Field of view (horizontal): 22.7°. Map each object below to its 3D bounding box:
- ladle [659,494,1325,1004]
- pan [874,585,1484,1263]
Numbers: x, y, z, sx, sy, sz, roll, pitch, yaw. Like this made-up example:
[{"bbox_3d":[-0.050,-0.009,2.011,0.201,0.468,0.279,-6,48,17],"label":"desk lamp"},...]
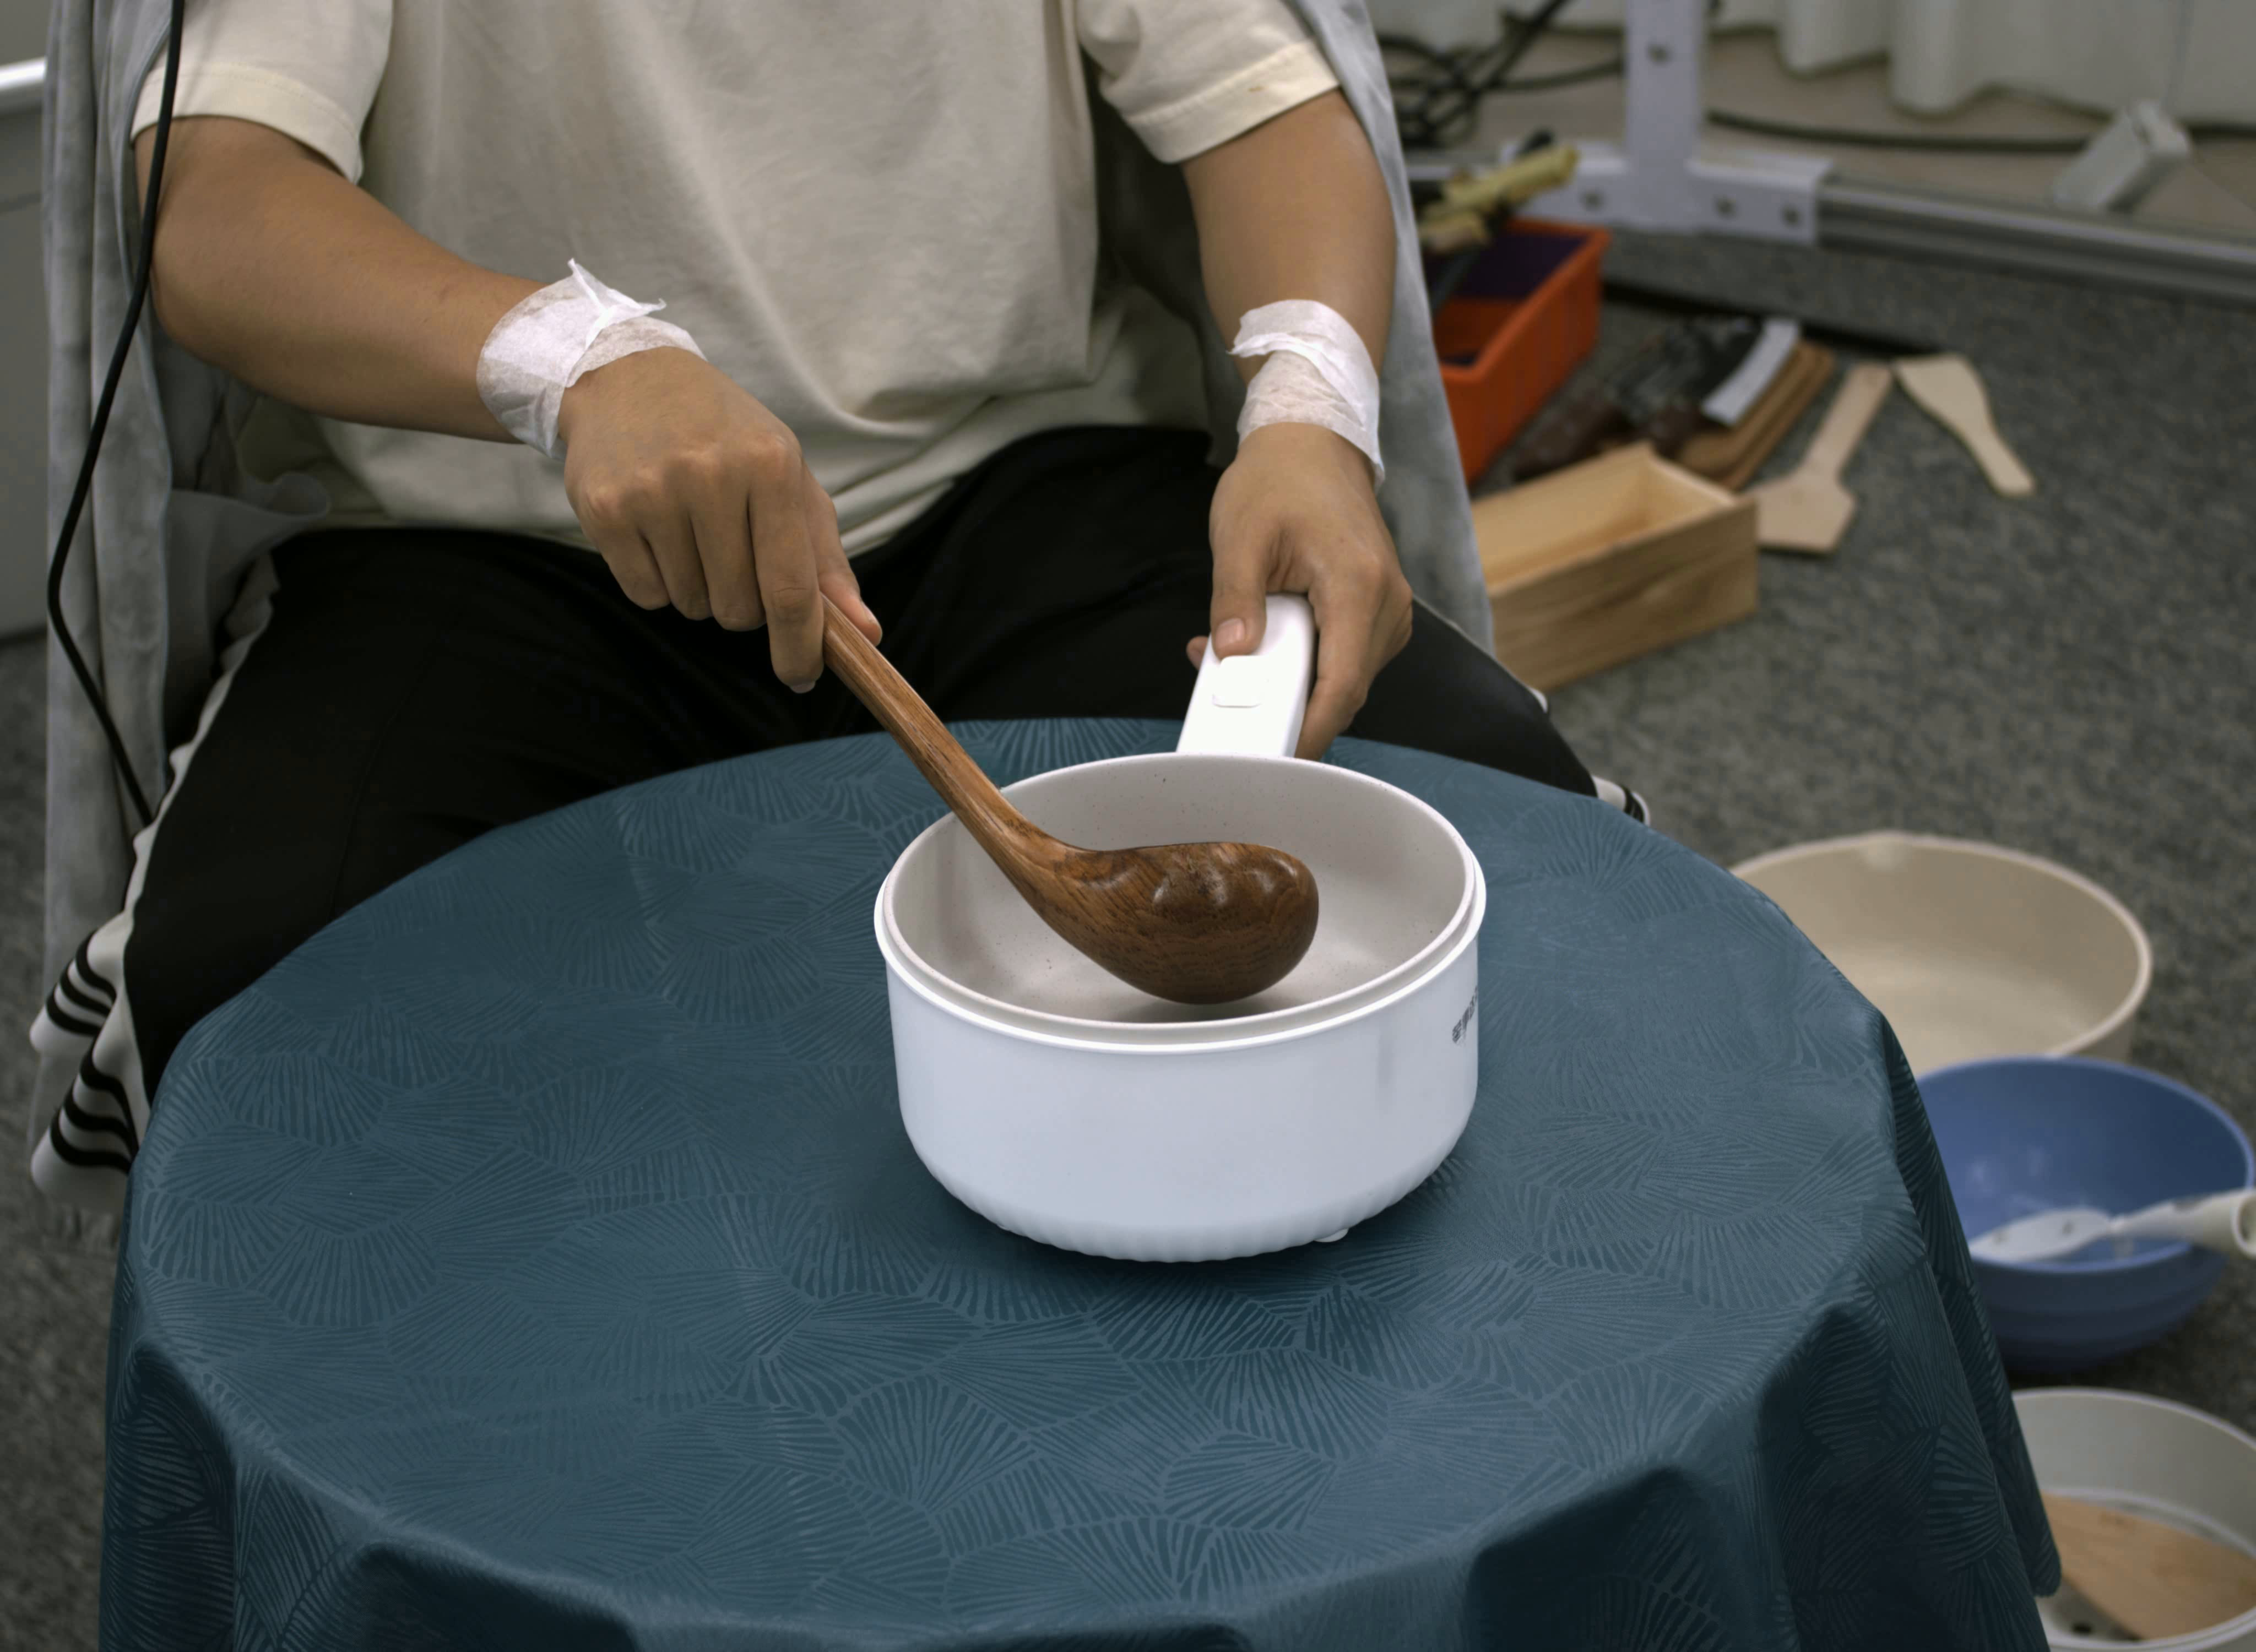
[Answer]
[{"bbox_3d":[-0.045,-0.038,1.900,0.077,0.080,0.275,-28,59,-33],"label":"ladle"},{"bbox_3d":[0.031,0.031,1.931,0.200,0.101,0.360,0,25,9],"label":"pan"}]
